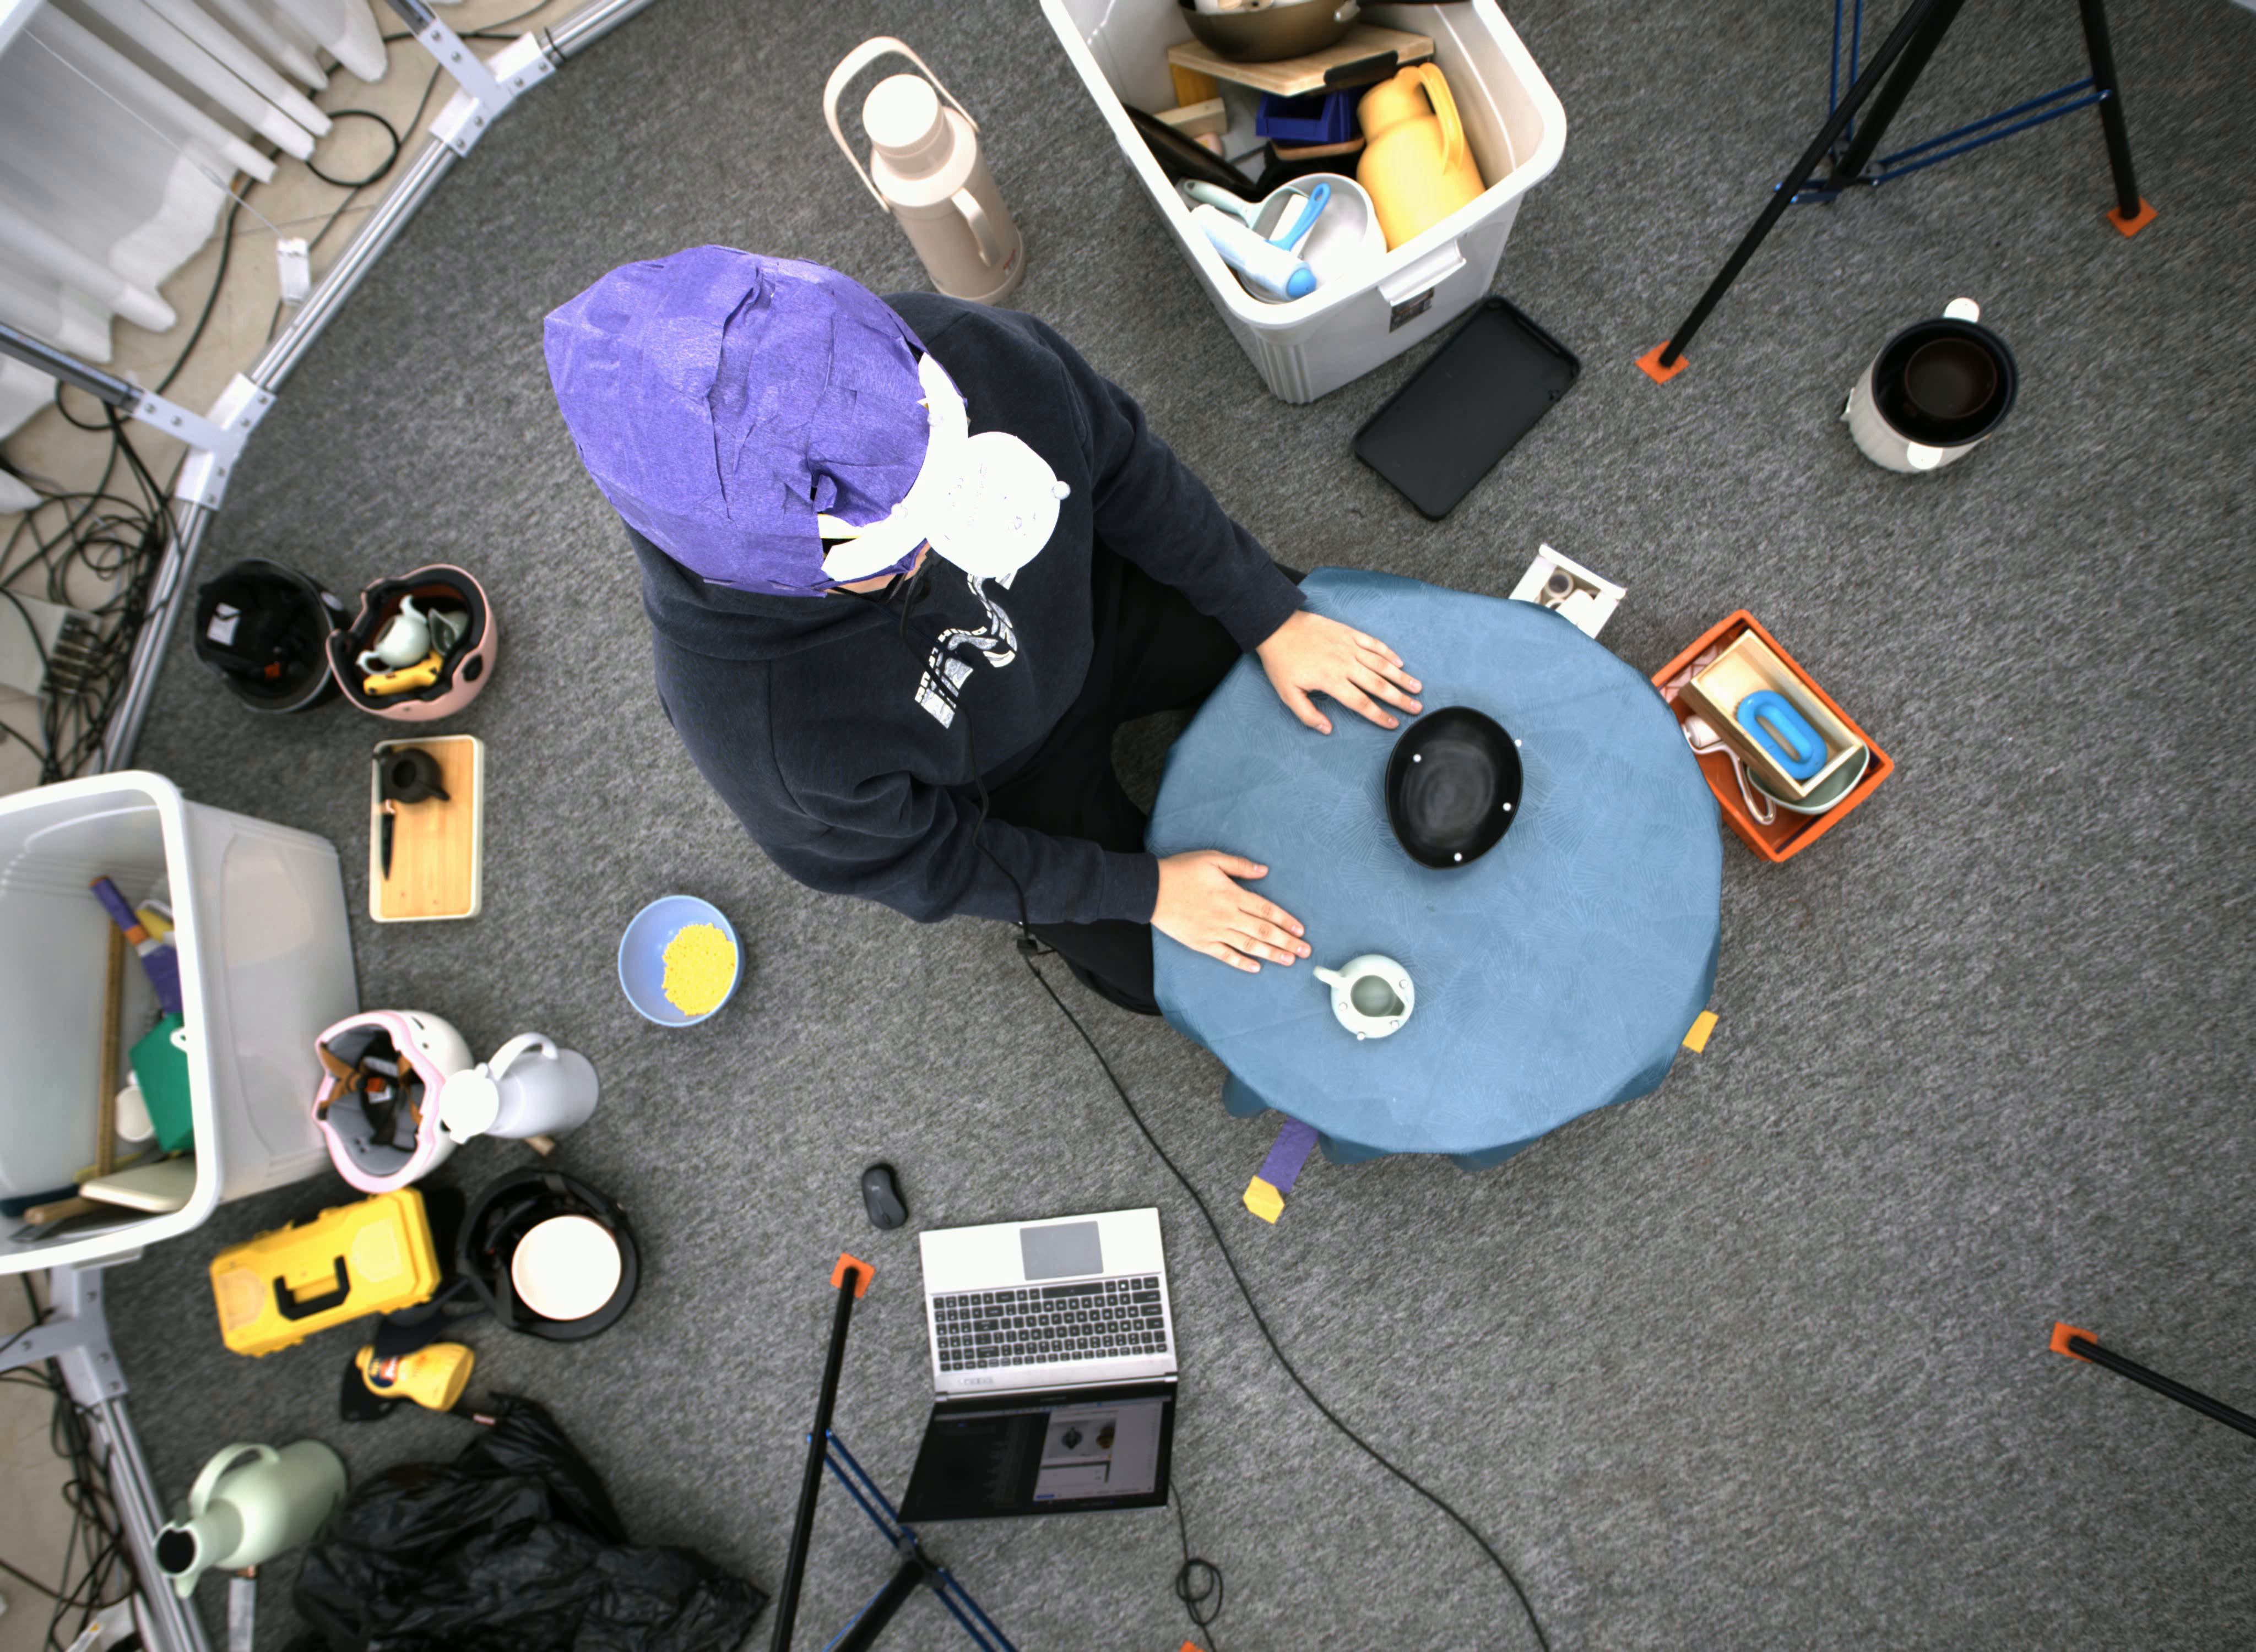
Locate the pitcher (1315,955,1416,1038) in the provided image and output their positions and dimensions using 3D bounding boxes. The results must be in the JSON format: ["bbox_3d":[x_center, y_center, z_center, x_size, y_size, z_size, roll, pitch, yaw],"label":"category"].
[{"bbox_3d":[0.244,0.171,1.432,0.108,0.060,0.086,22,89,14],"label":"pitcher"}]

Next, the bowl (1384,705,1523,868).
[{"bbox_3d":[0.335,-0.039,1.423,0.137,0.066,0.170,12,89,12],"label":"bowl"}]
